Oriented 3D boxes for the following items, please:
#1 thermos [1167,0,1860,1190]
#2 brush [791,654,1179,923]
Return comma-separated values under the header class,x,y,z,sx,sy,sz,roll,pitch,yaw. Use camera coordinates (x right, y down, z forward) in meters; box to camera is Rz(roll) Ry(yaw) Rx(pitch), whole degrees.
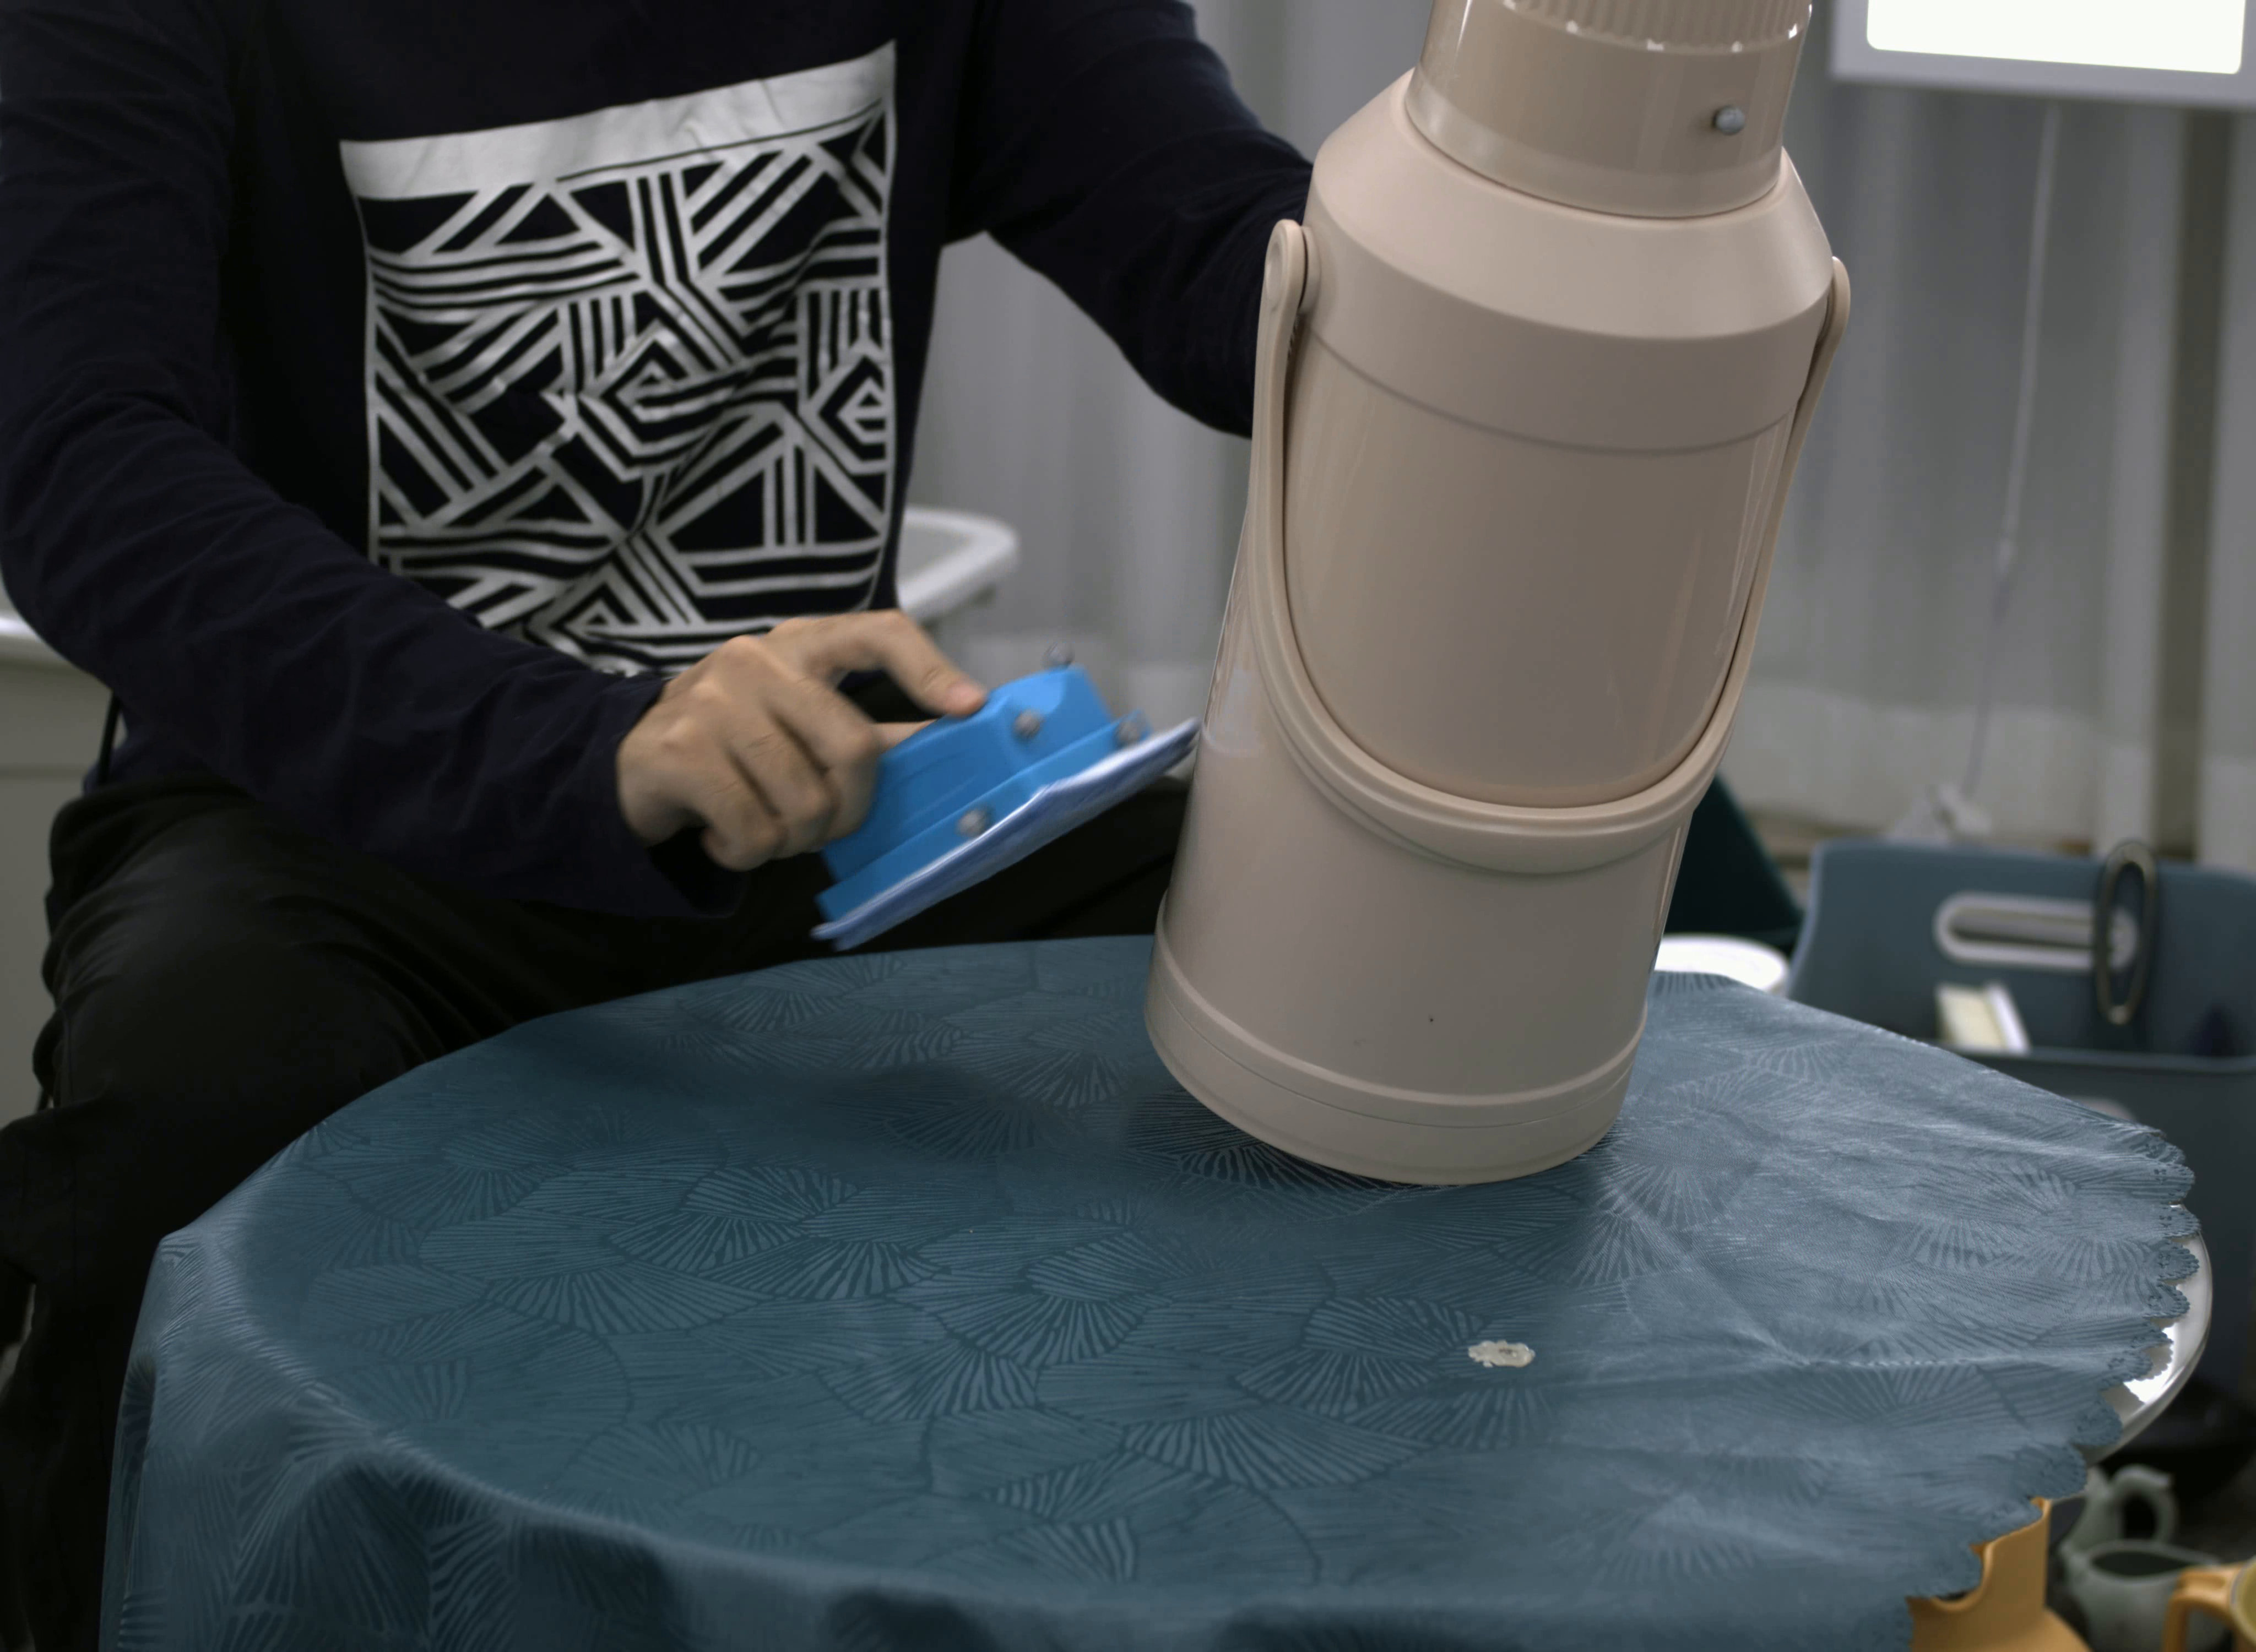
class,x,y,z,sx,sy,sz,roll,pitch,yaw
thermos,0.117,-0.104,1.602,0.175,0.410,0.204,0,32,-15
brush,-0.052,-0.016,1.685,0.084,0.056,0.143,-25,-2,-40
